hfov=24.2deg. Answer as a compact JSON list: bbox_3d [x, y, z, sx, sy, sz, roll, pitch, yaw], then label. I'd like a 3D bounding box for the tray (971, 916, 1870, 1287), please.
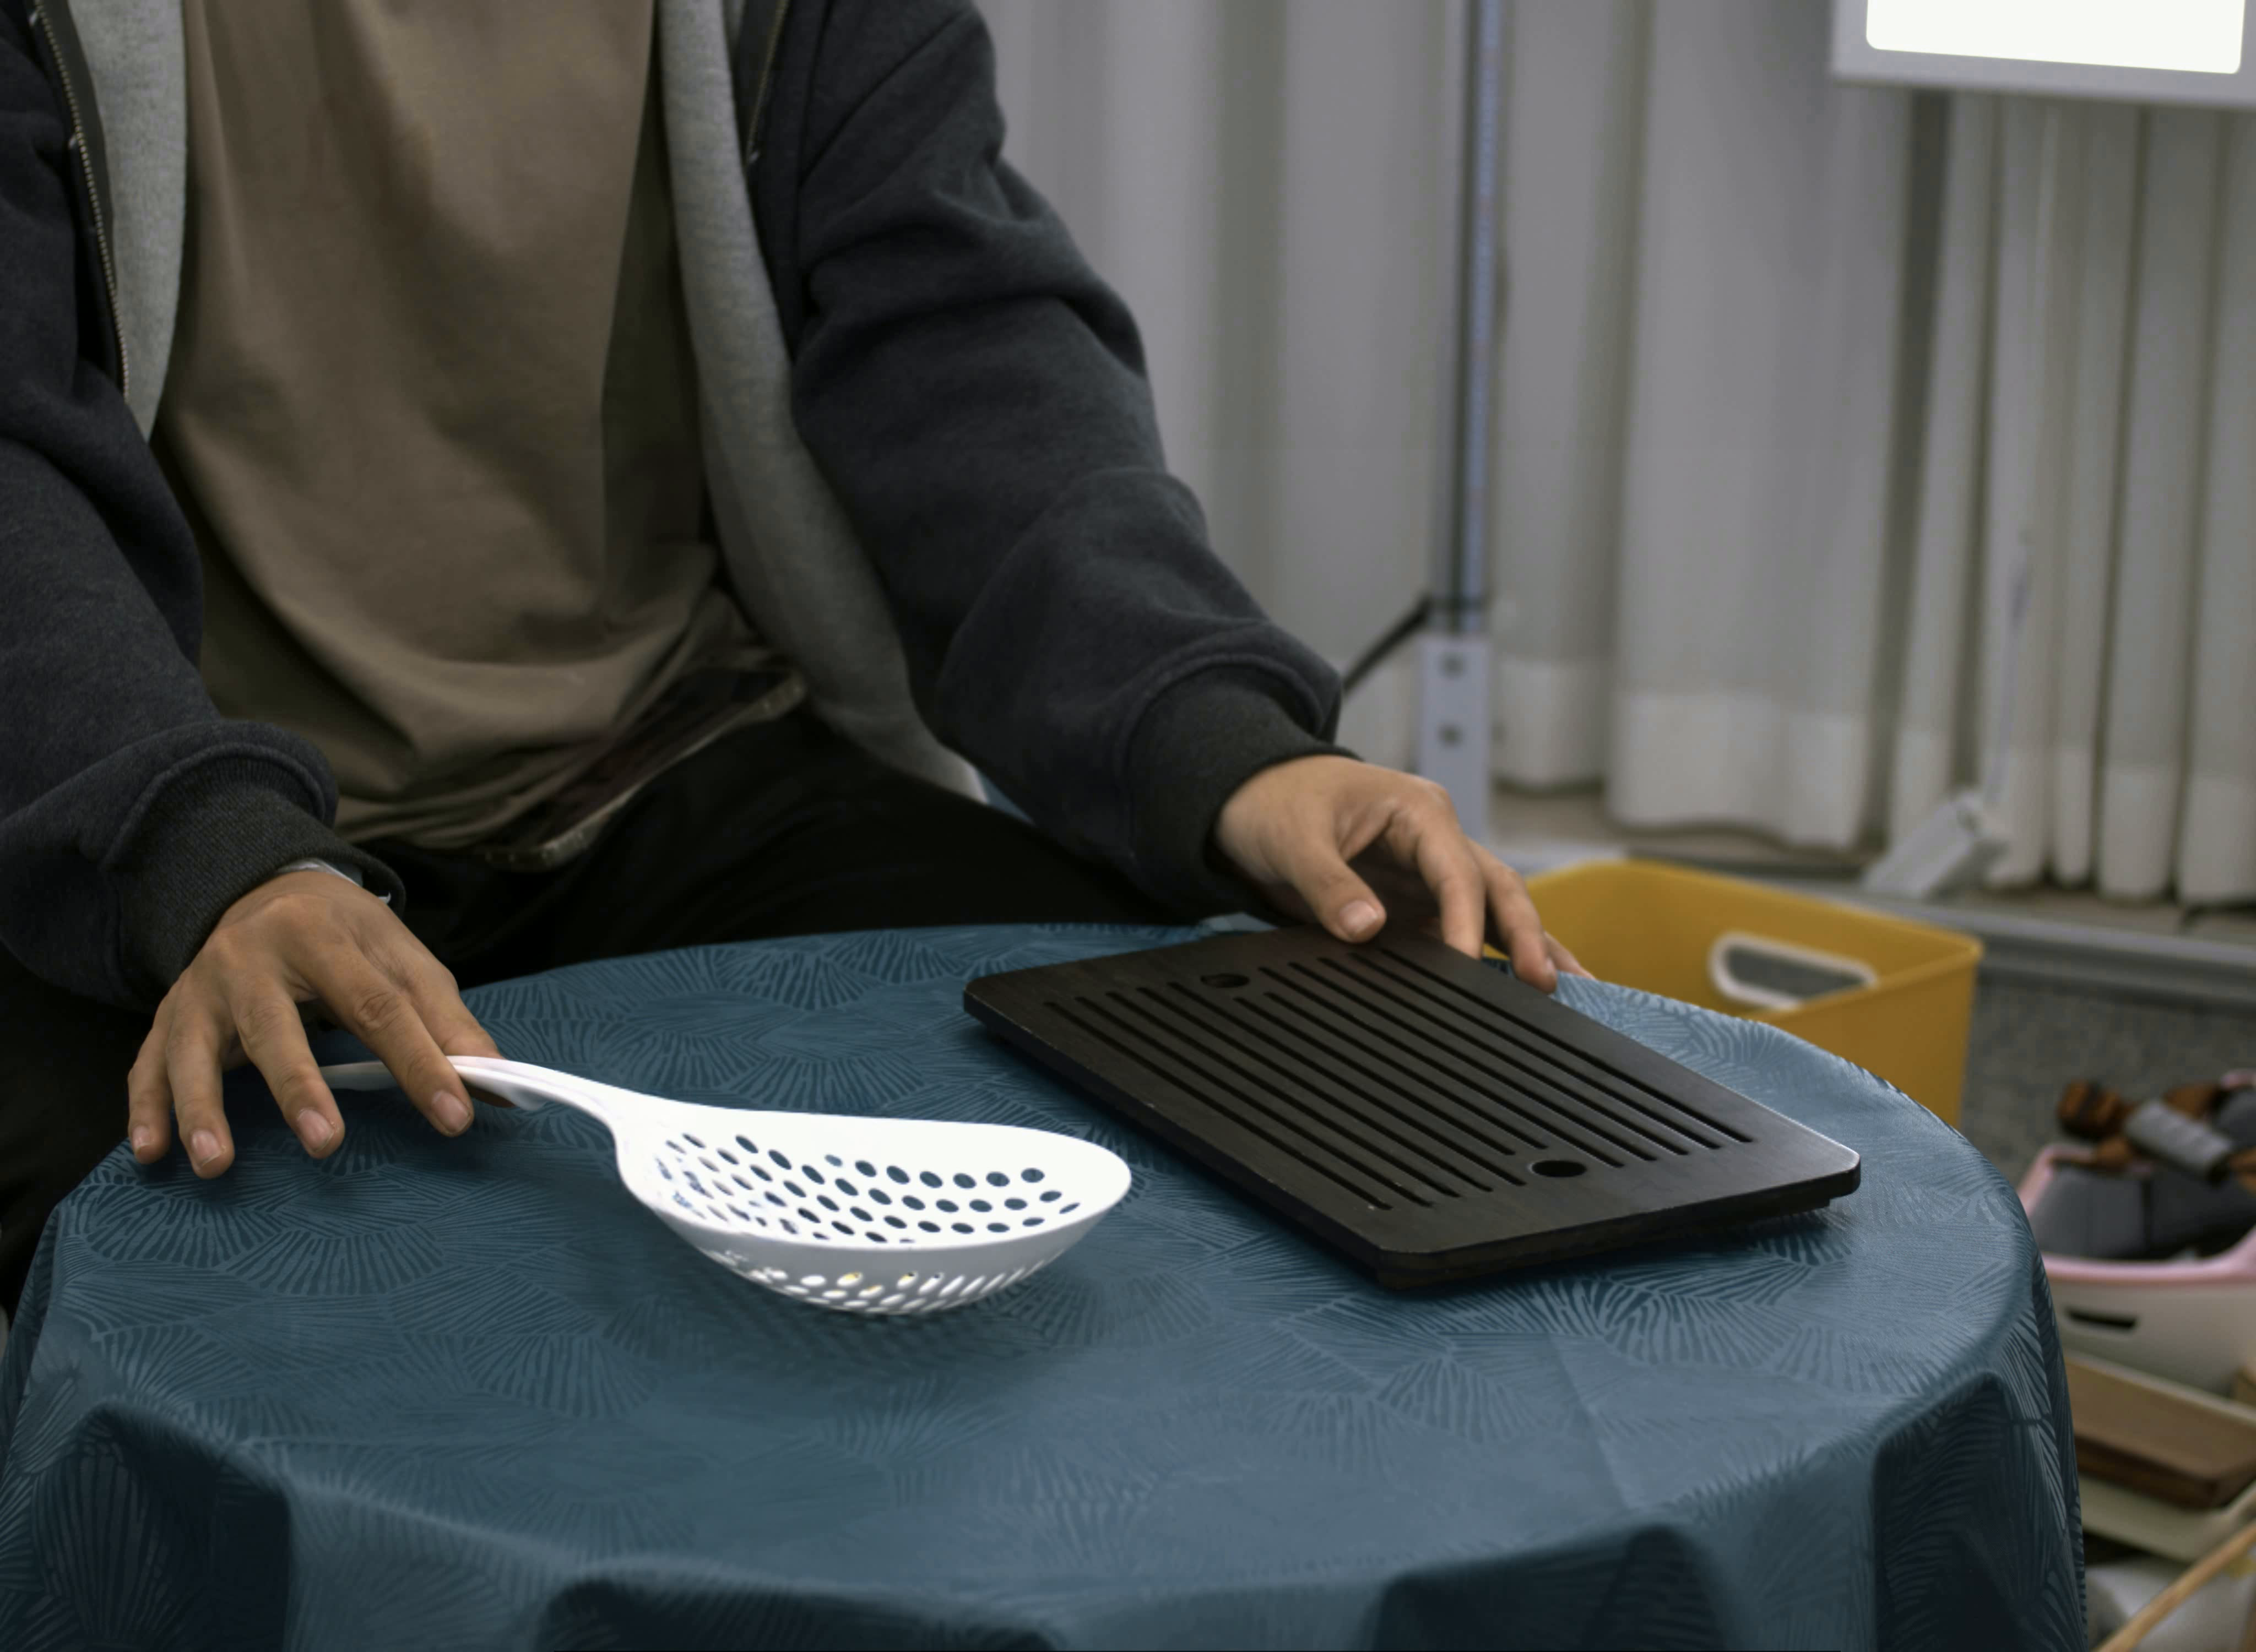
[{"bbox_3d":[0.087,0.085,1.690,0.171,0.019,0.302,-8,18,-26],"label":"tray"}]

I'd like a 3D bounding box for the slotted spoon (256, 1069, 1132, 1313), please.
[{"bbox_3d":[-0.147,0.098,1.593,0.343,0.051,0.137,15,21,41],"label":"slotted spoon"}]
